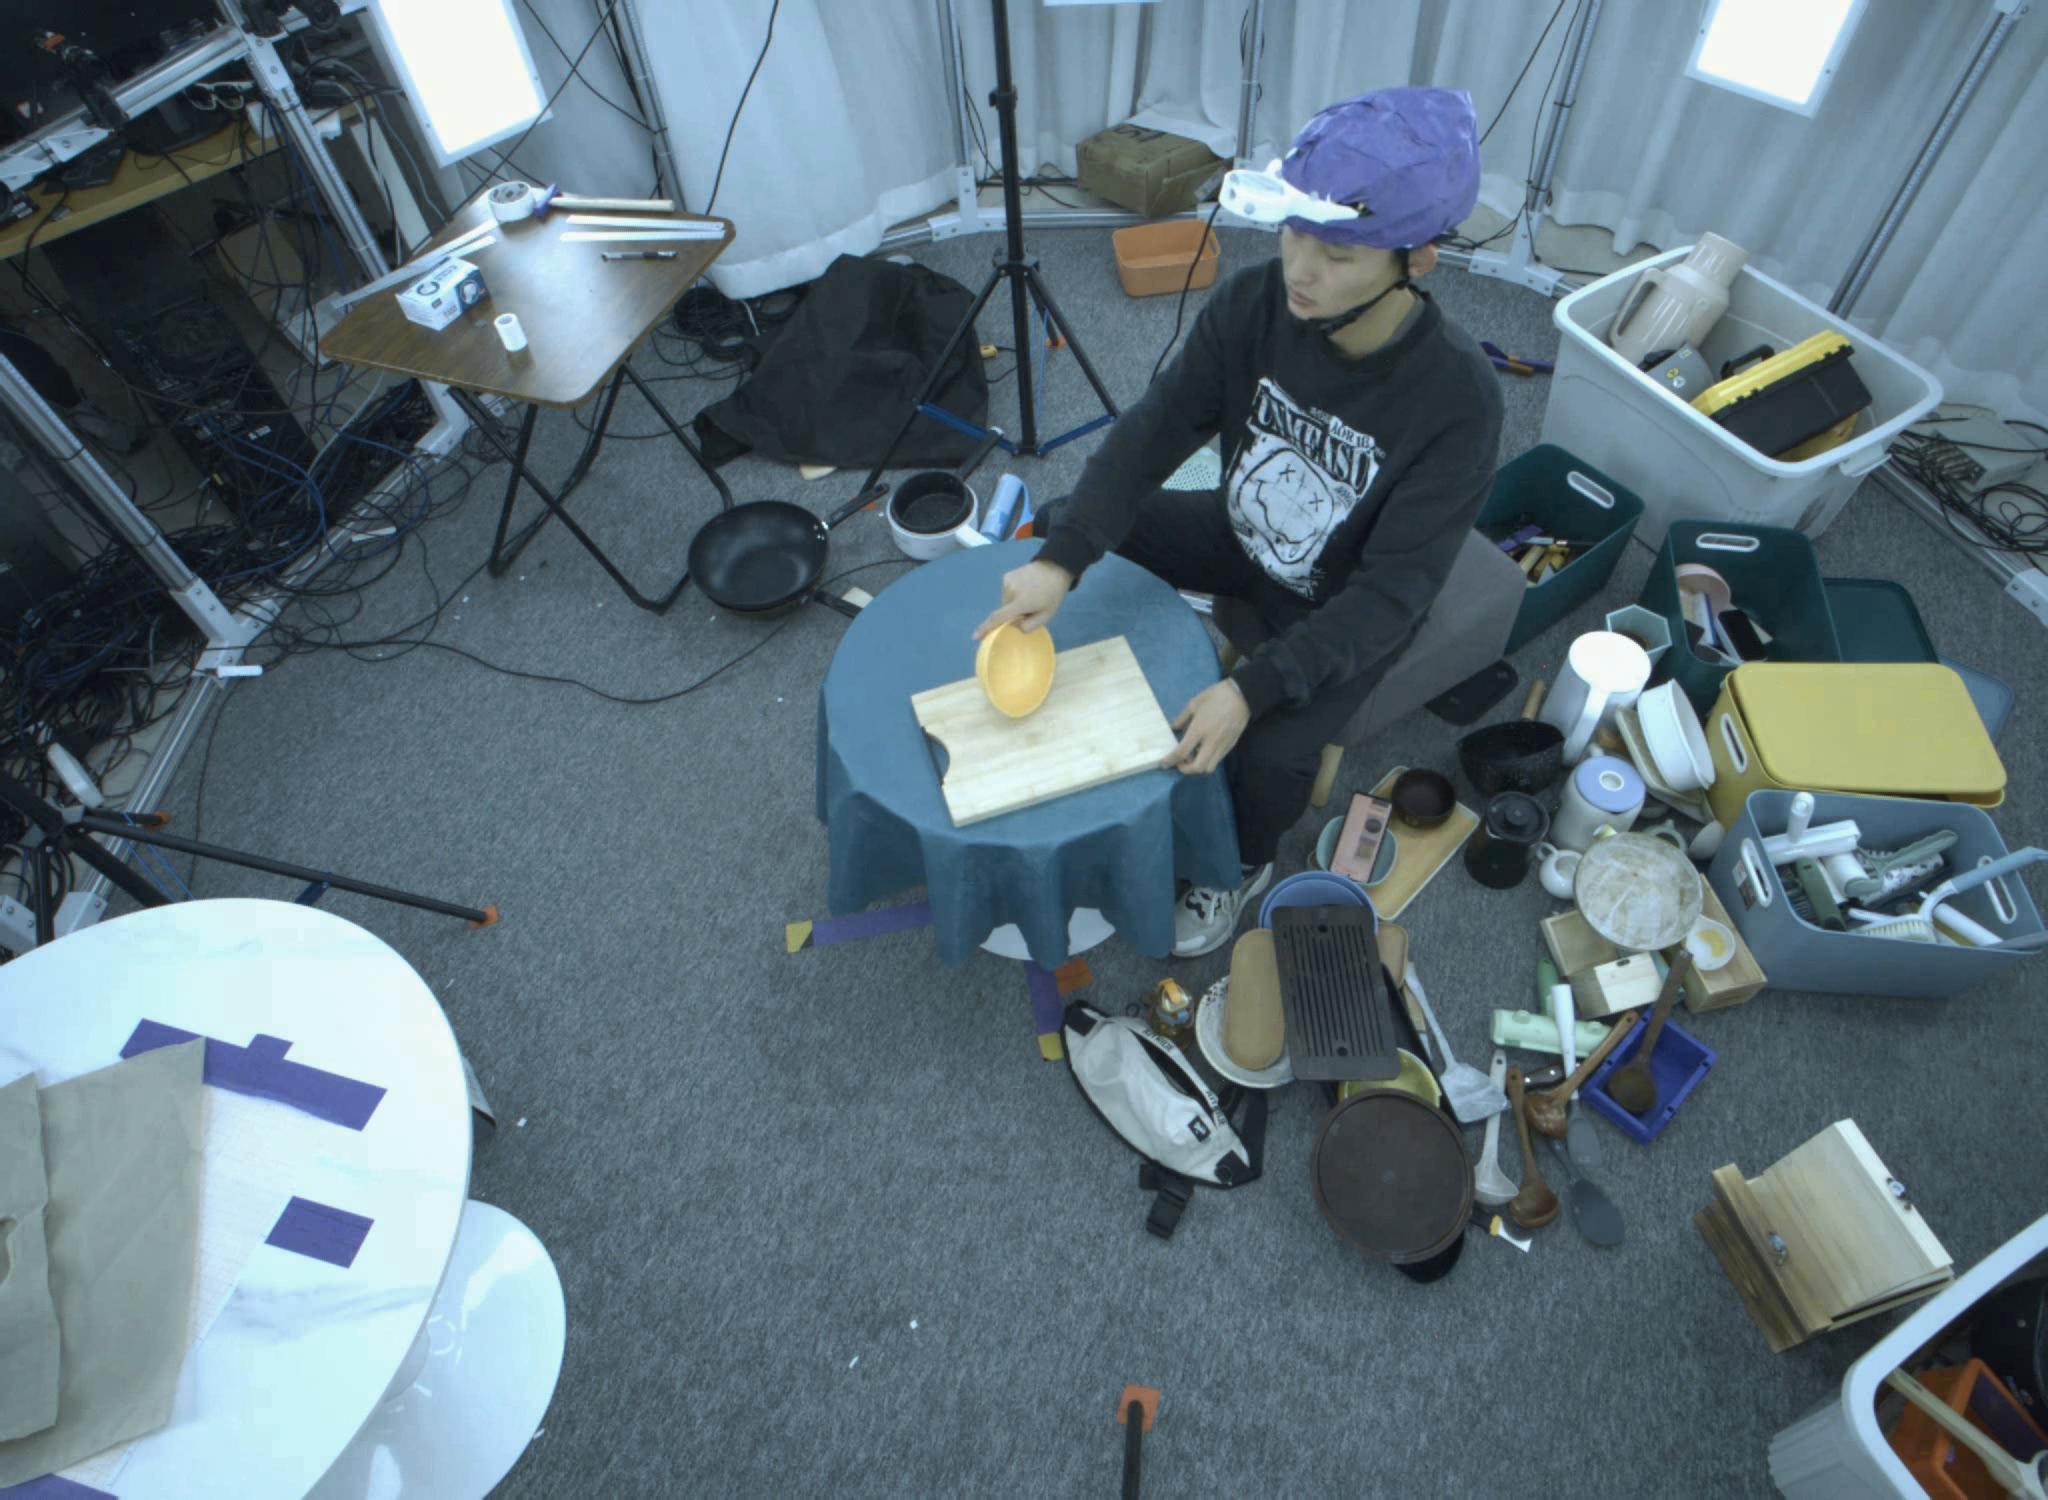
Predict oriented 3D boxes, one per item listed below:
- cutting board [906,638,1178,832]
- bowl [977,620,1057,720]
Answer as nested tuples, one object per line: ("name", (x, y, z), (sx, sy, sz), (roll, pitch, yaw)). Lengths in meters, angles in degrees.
("cutting board", (0.025, -0.028, 1.807), (0.351, 0.024, 0.246), (-17, 56, -10))
("bowl", (-0.021, -0.118, 1.767), (0.059, 0.148, 0.146), (14, 54, 41))
